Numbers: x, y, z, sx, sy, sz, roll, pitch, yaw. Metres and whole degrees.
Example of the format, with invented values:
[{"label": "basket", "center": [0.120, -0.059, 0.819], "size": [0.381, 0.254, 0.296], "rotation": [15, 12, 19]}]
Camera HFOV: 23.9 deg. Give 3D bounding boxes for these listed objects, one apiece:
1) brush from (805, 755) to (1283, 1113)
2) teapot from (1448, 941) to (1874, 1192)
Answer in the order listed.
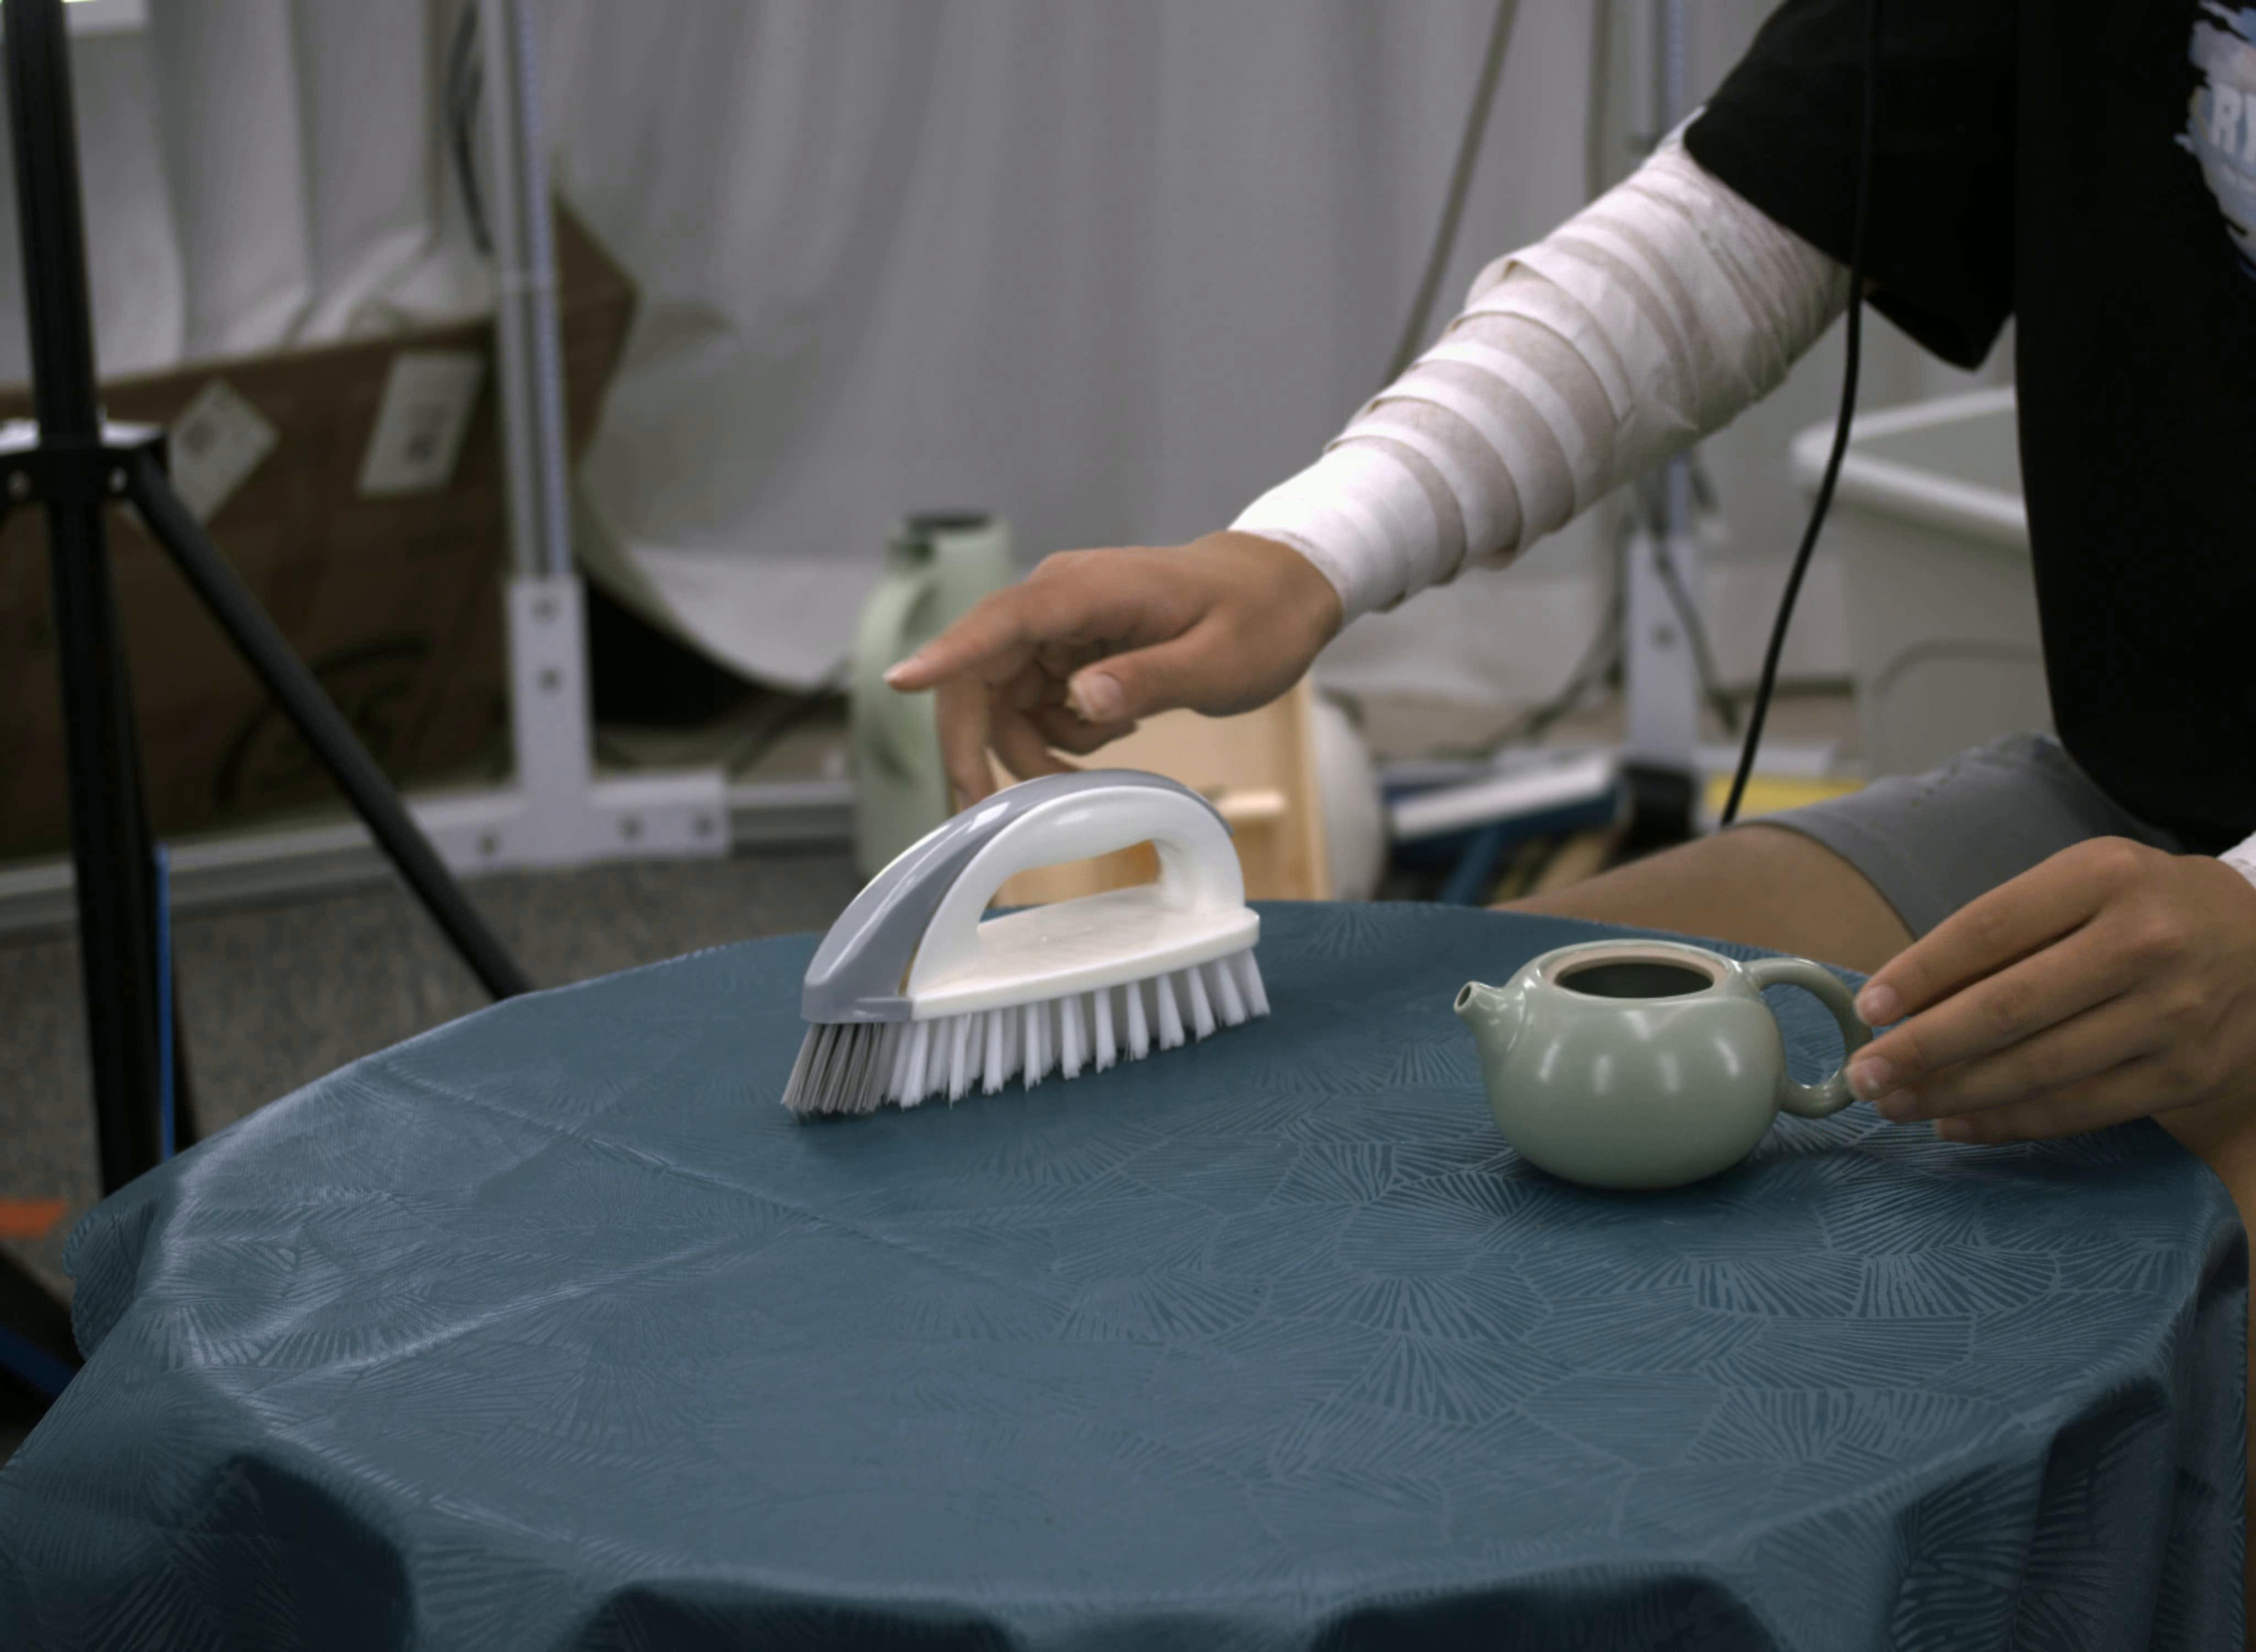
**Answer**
[{"label": "brush", "center": [-0.033, 0.031, 1.669], "size": [0.171, 0.094, 0.063], "rotation": [-15, 16, -34]}, {"label": "teapot", "center": [0.157, 0.071, 1.558], "size": [0.127, 0.061, 0.092], "rotation": [-3, 13, -5]}]
